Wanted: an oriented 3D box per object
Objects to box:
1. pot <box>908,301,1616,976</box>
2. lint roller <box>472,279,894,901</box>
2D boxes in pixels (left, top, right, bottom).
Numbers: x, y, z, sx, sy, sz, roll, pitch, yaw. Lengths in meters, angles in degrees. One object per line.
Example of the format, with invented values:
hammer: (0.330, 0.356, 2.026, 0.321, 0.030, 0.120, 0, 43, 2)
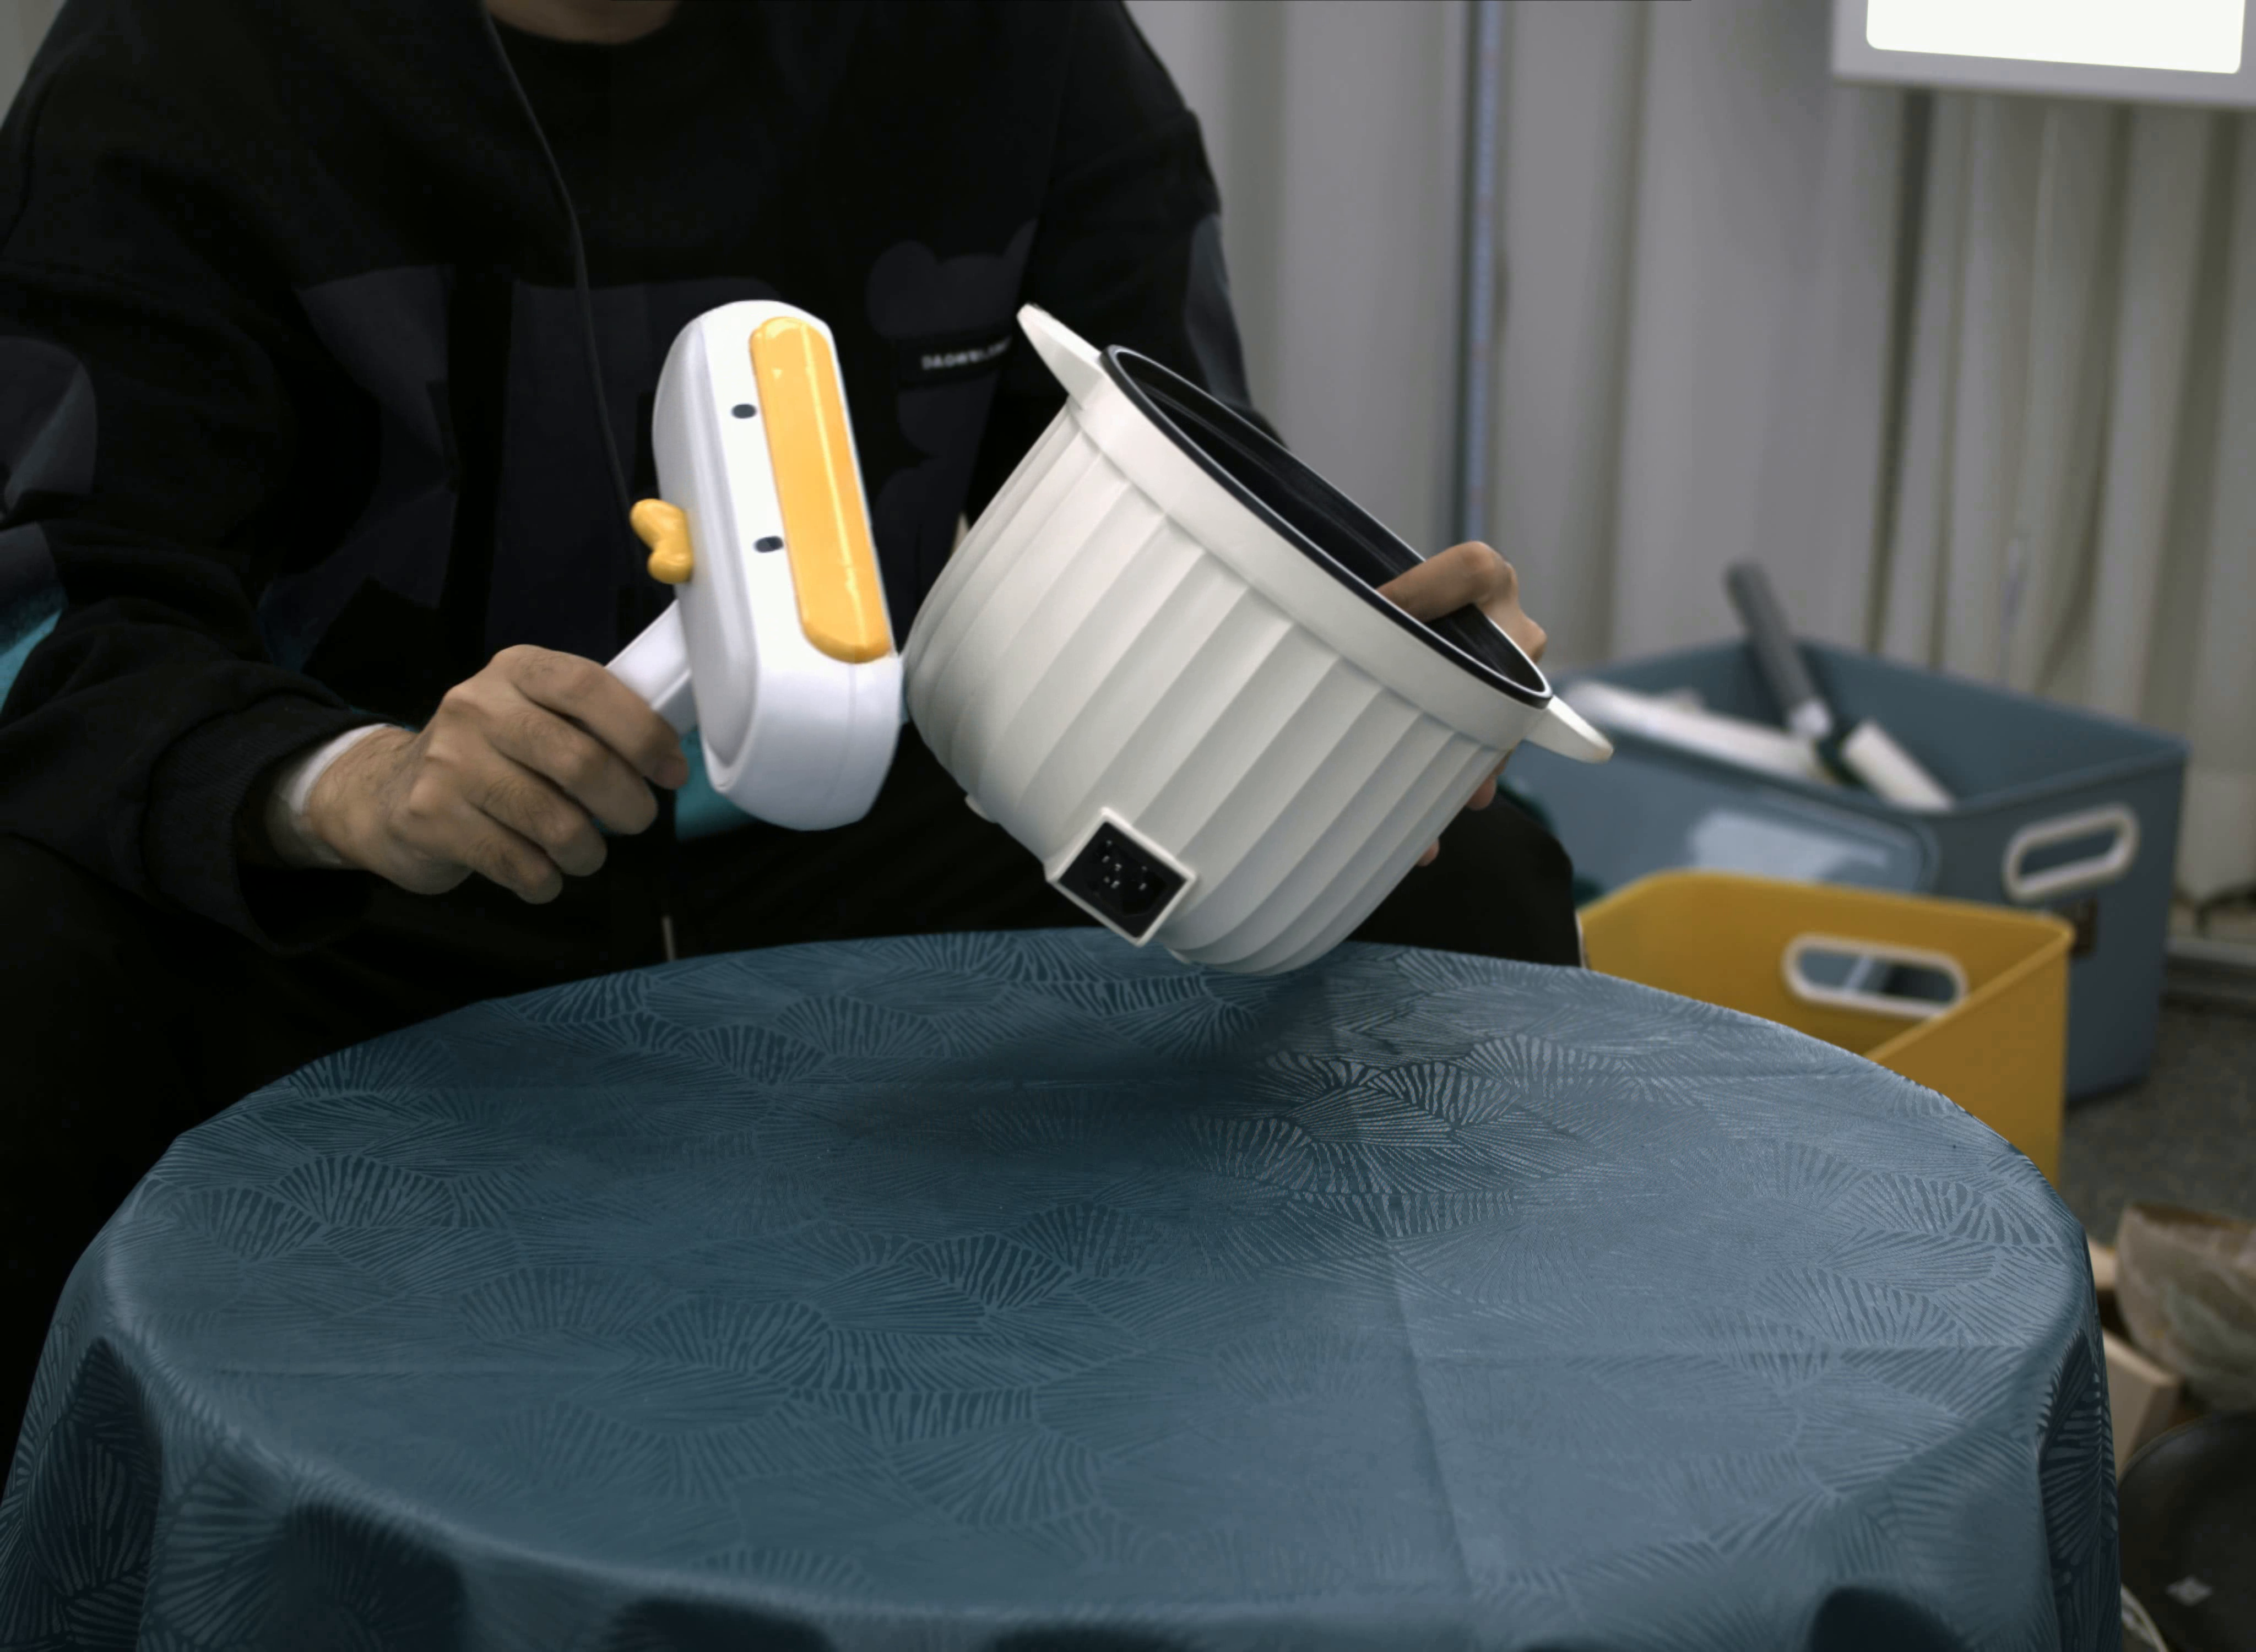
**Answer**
pot: (0.024, -0.048, 1.684, 0.242, 0.143, 0.189, 38, 12, -14)
lint roller: (-0.145, -0.049, 1.649, 0.075, 0.193, 0.190, 9, 42, -30)
